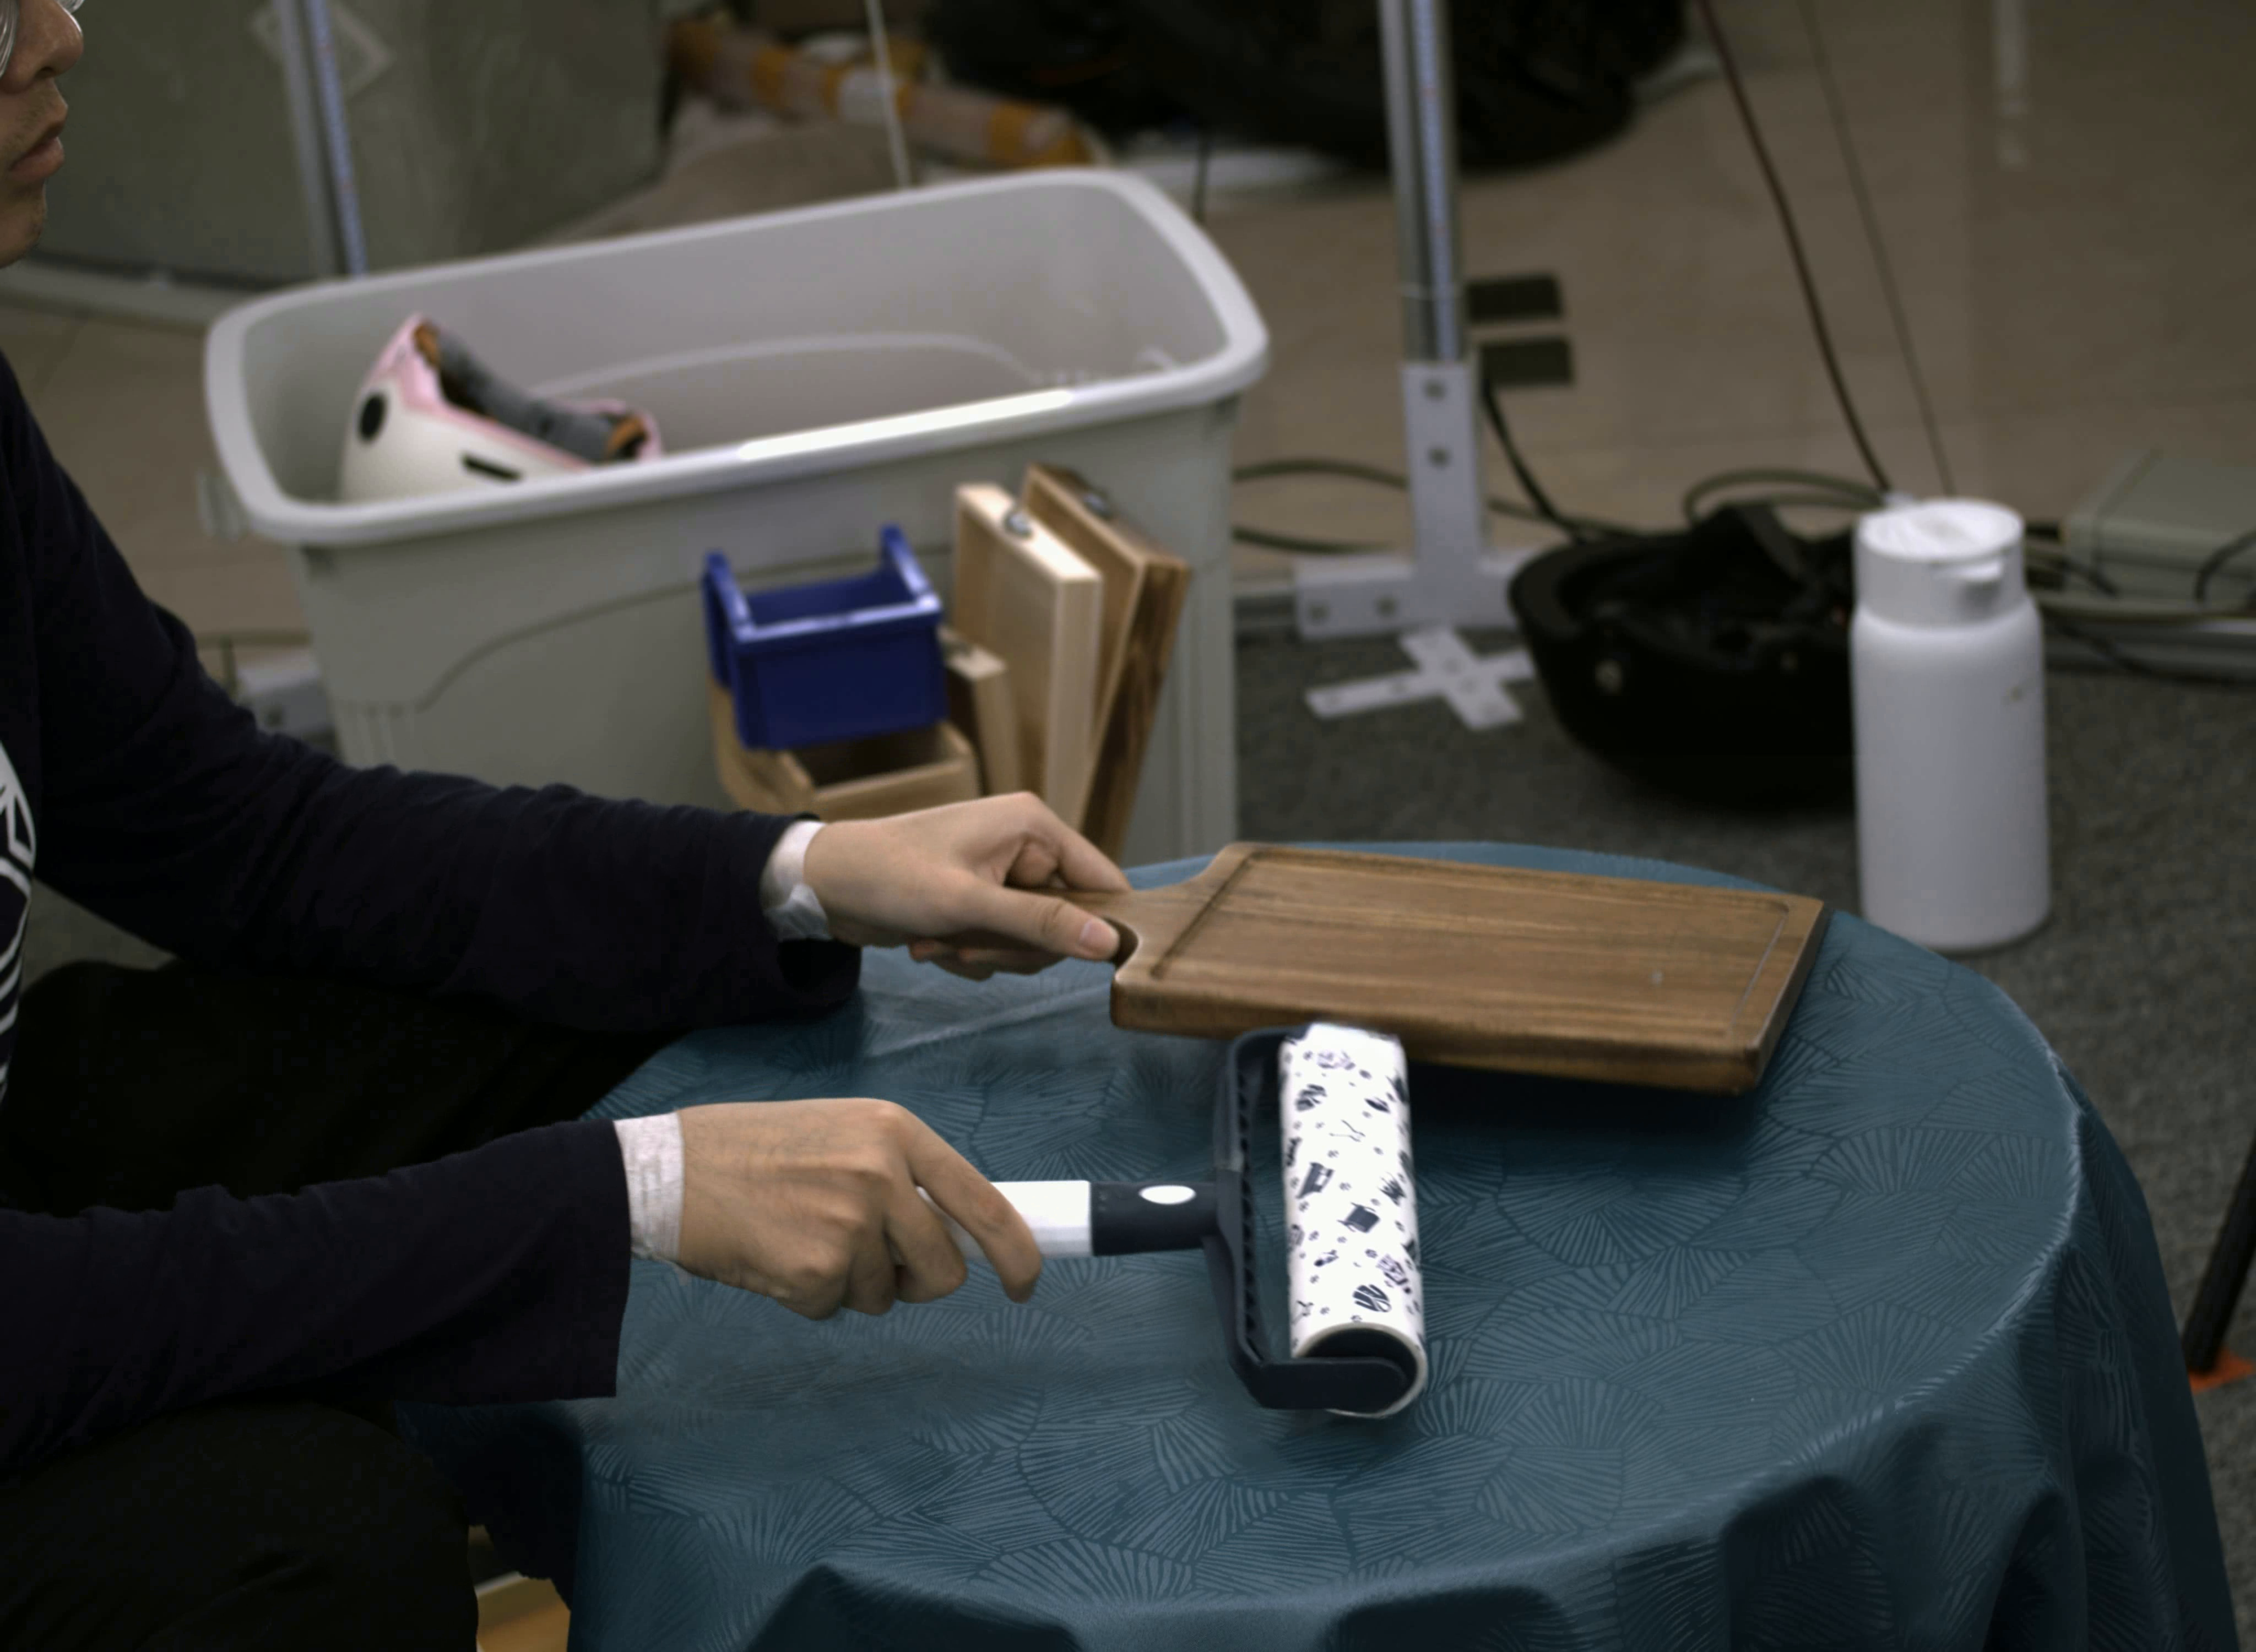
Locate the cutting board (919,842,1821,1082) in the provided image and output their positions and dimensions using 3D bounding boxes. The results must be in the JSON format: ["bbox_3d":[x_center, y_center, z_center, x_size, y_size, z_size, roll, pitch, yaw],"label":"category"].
[{"bbox_3d":[0.088,0.046,2.234,0.351,0.023,0.199,6,16,13],"label":"cutting board"}]

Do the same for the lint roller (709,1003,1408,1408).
[{"bbox_3d":[-0.026,0.138,2.021,0.246,0.051,0.173,-2,42,-1],"label":"lint roller"}]
